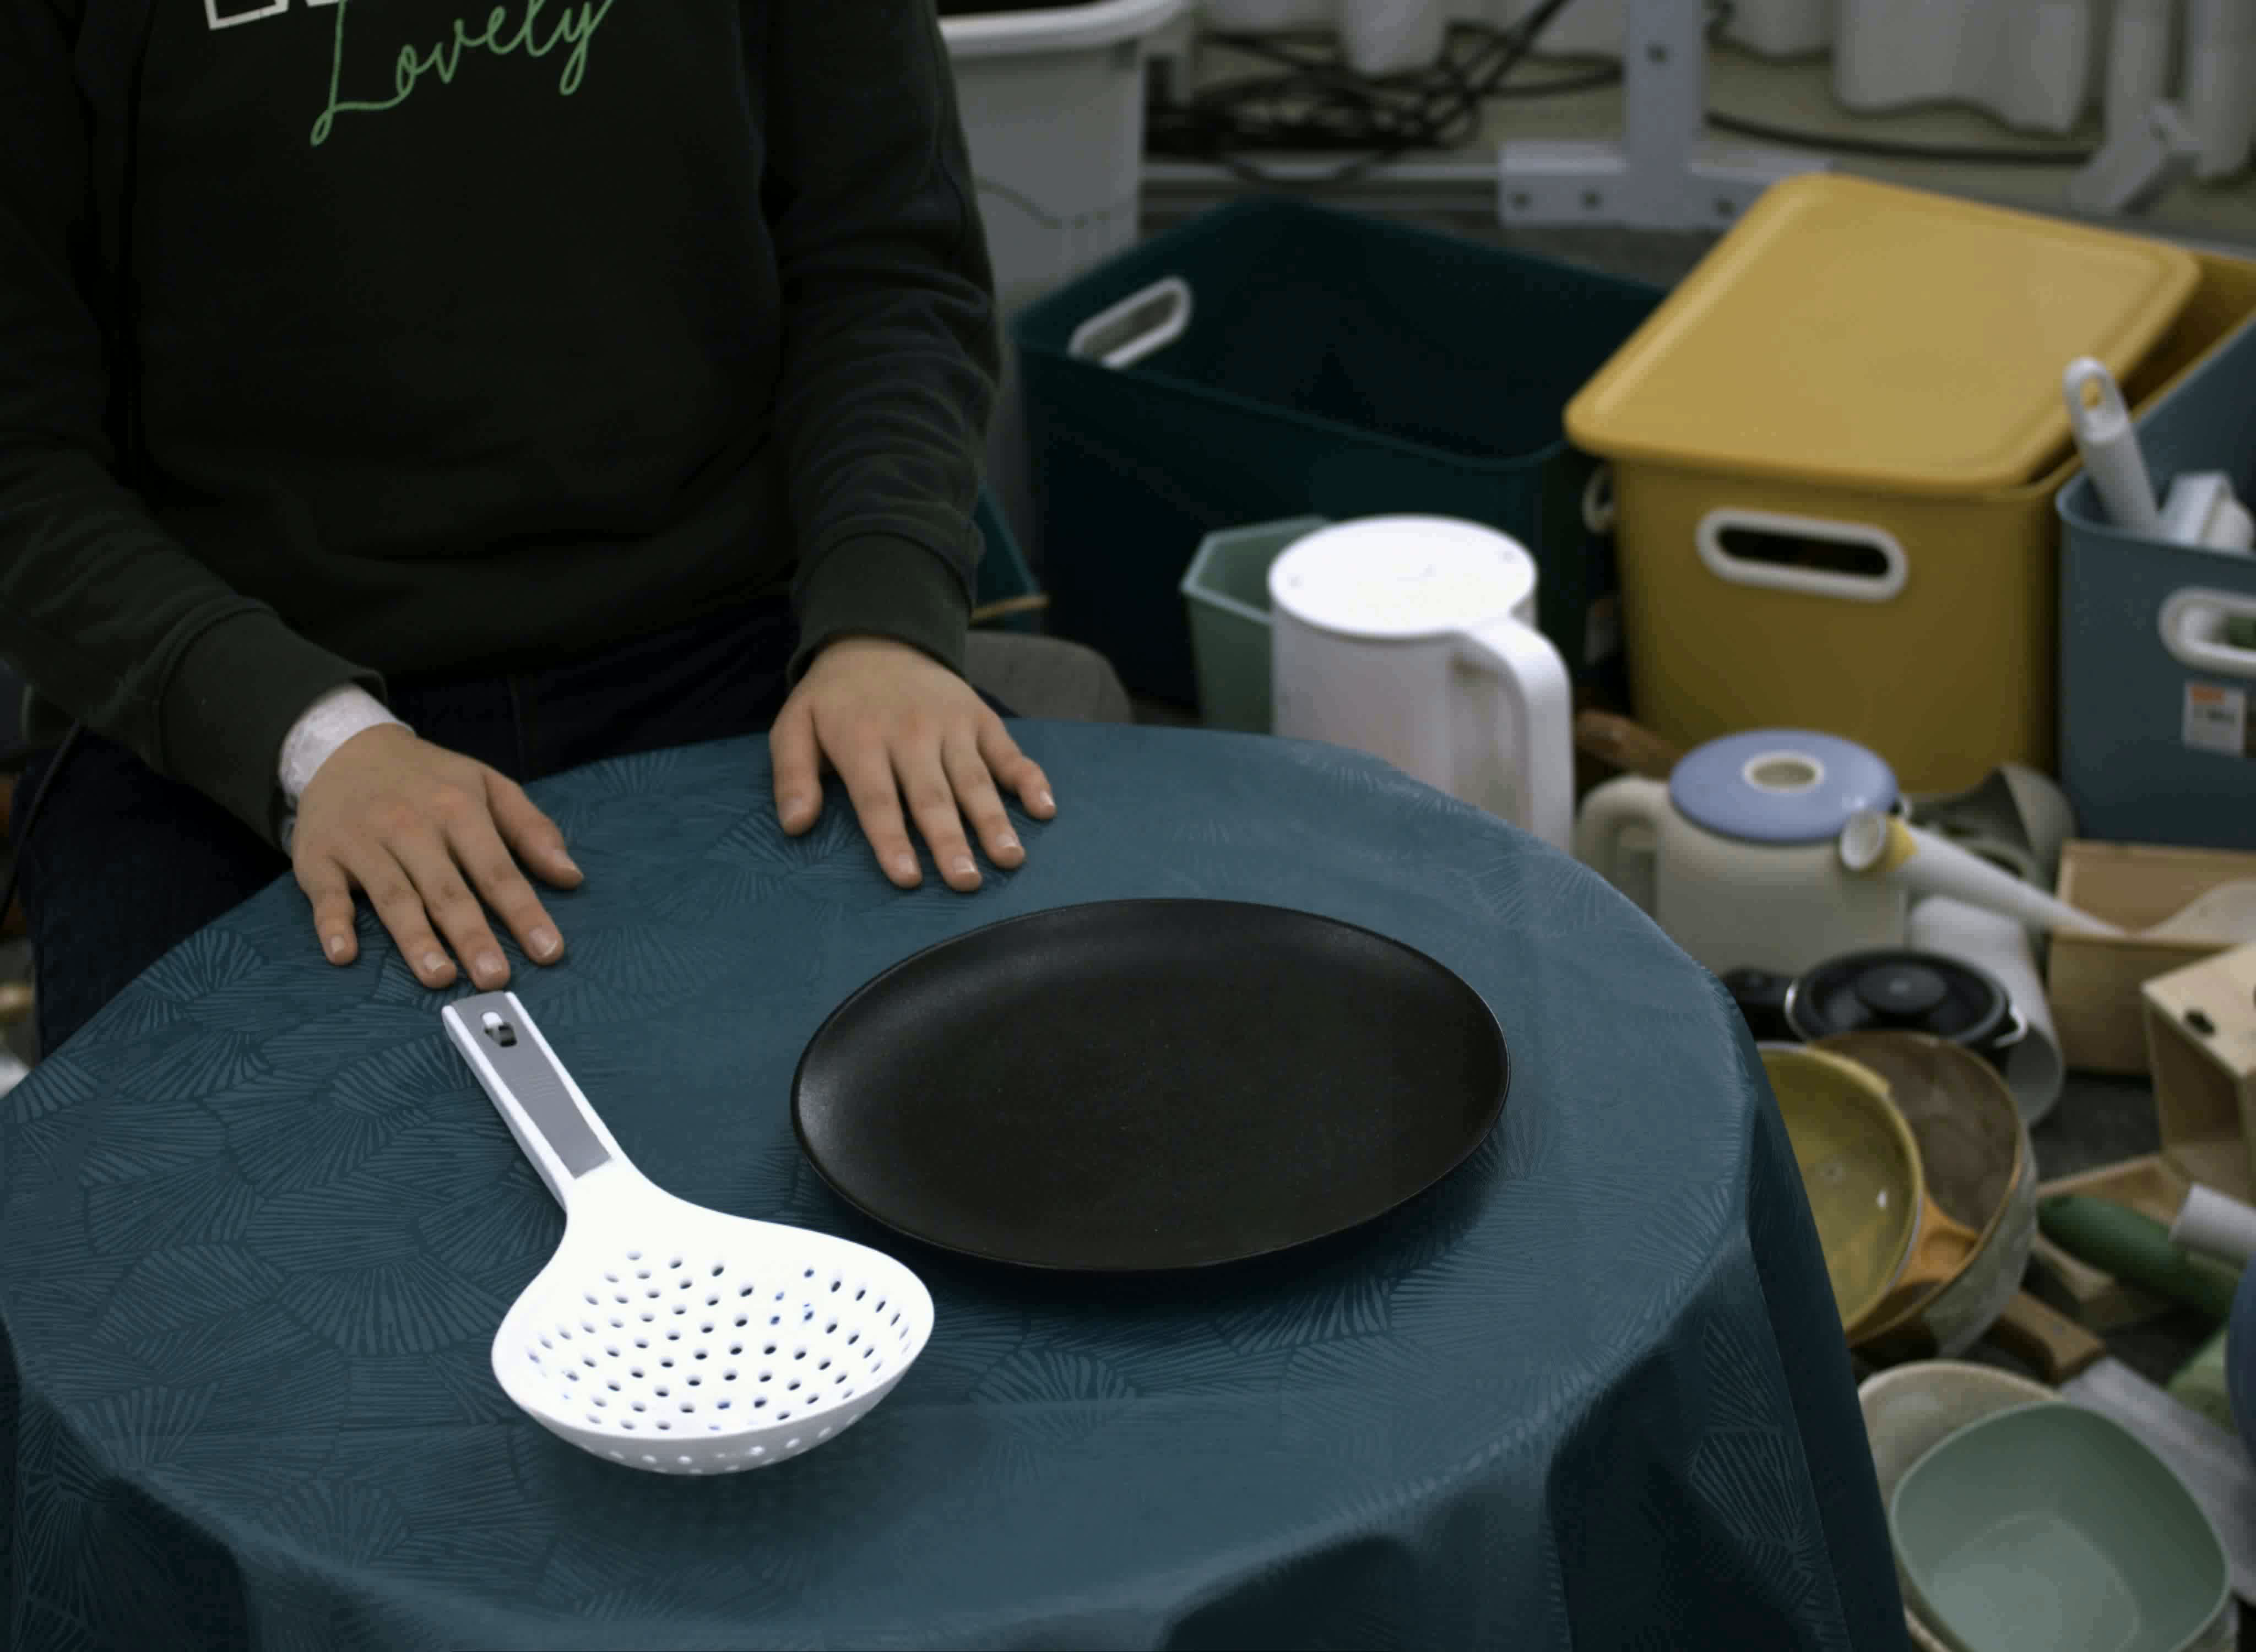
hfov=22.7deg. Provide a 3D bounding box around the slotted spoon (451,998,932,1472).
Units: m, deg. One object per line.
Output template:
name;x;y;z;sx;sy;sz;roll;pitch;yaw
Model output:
slotted spoon;-0.166;0.126;1.821;0.136;0.045;0.352;-10;27;-18

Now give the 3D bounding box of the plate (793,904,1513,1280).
plate;0.009;0.093;1.891;0.243;0.023;0.248;-2;27;2
